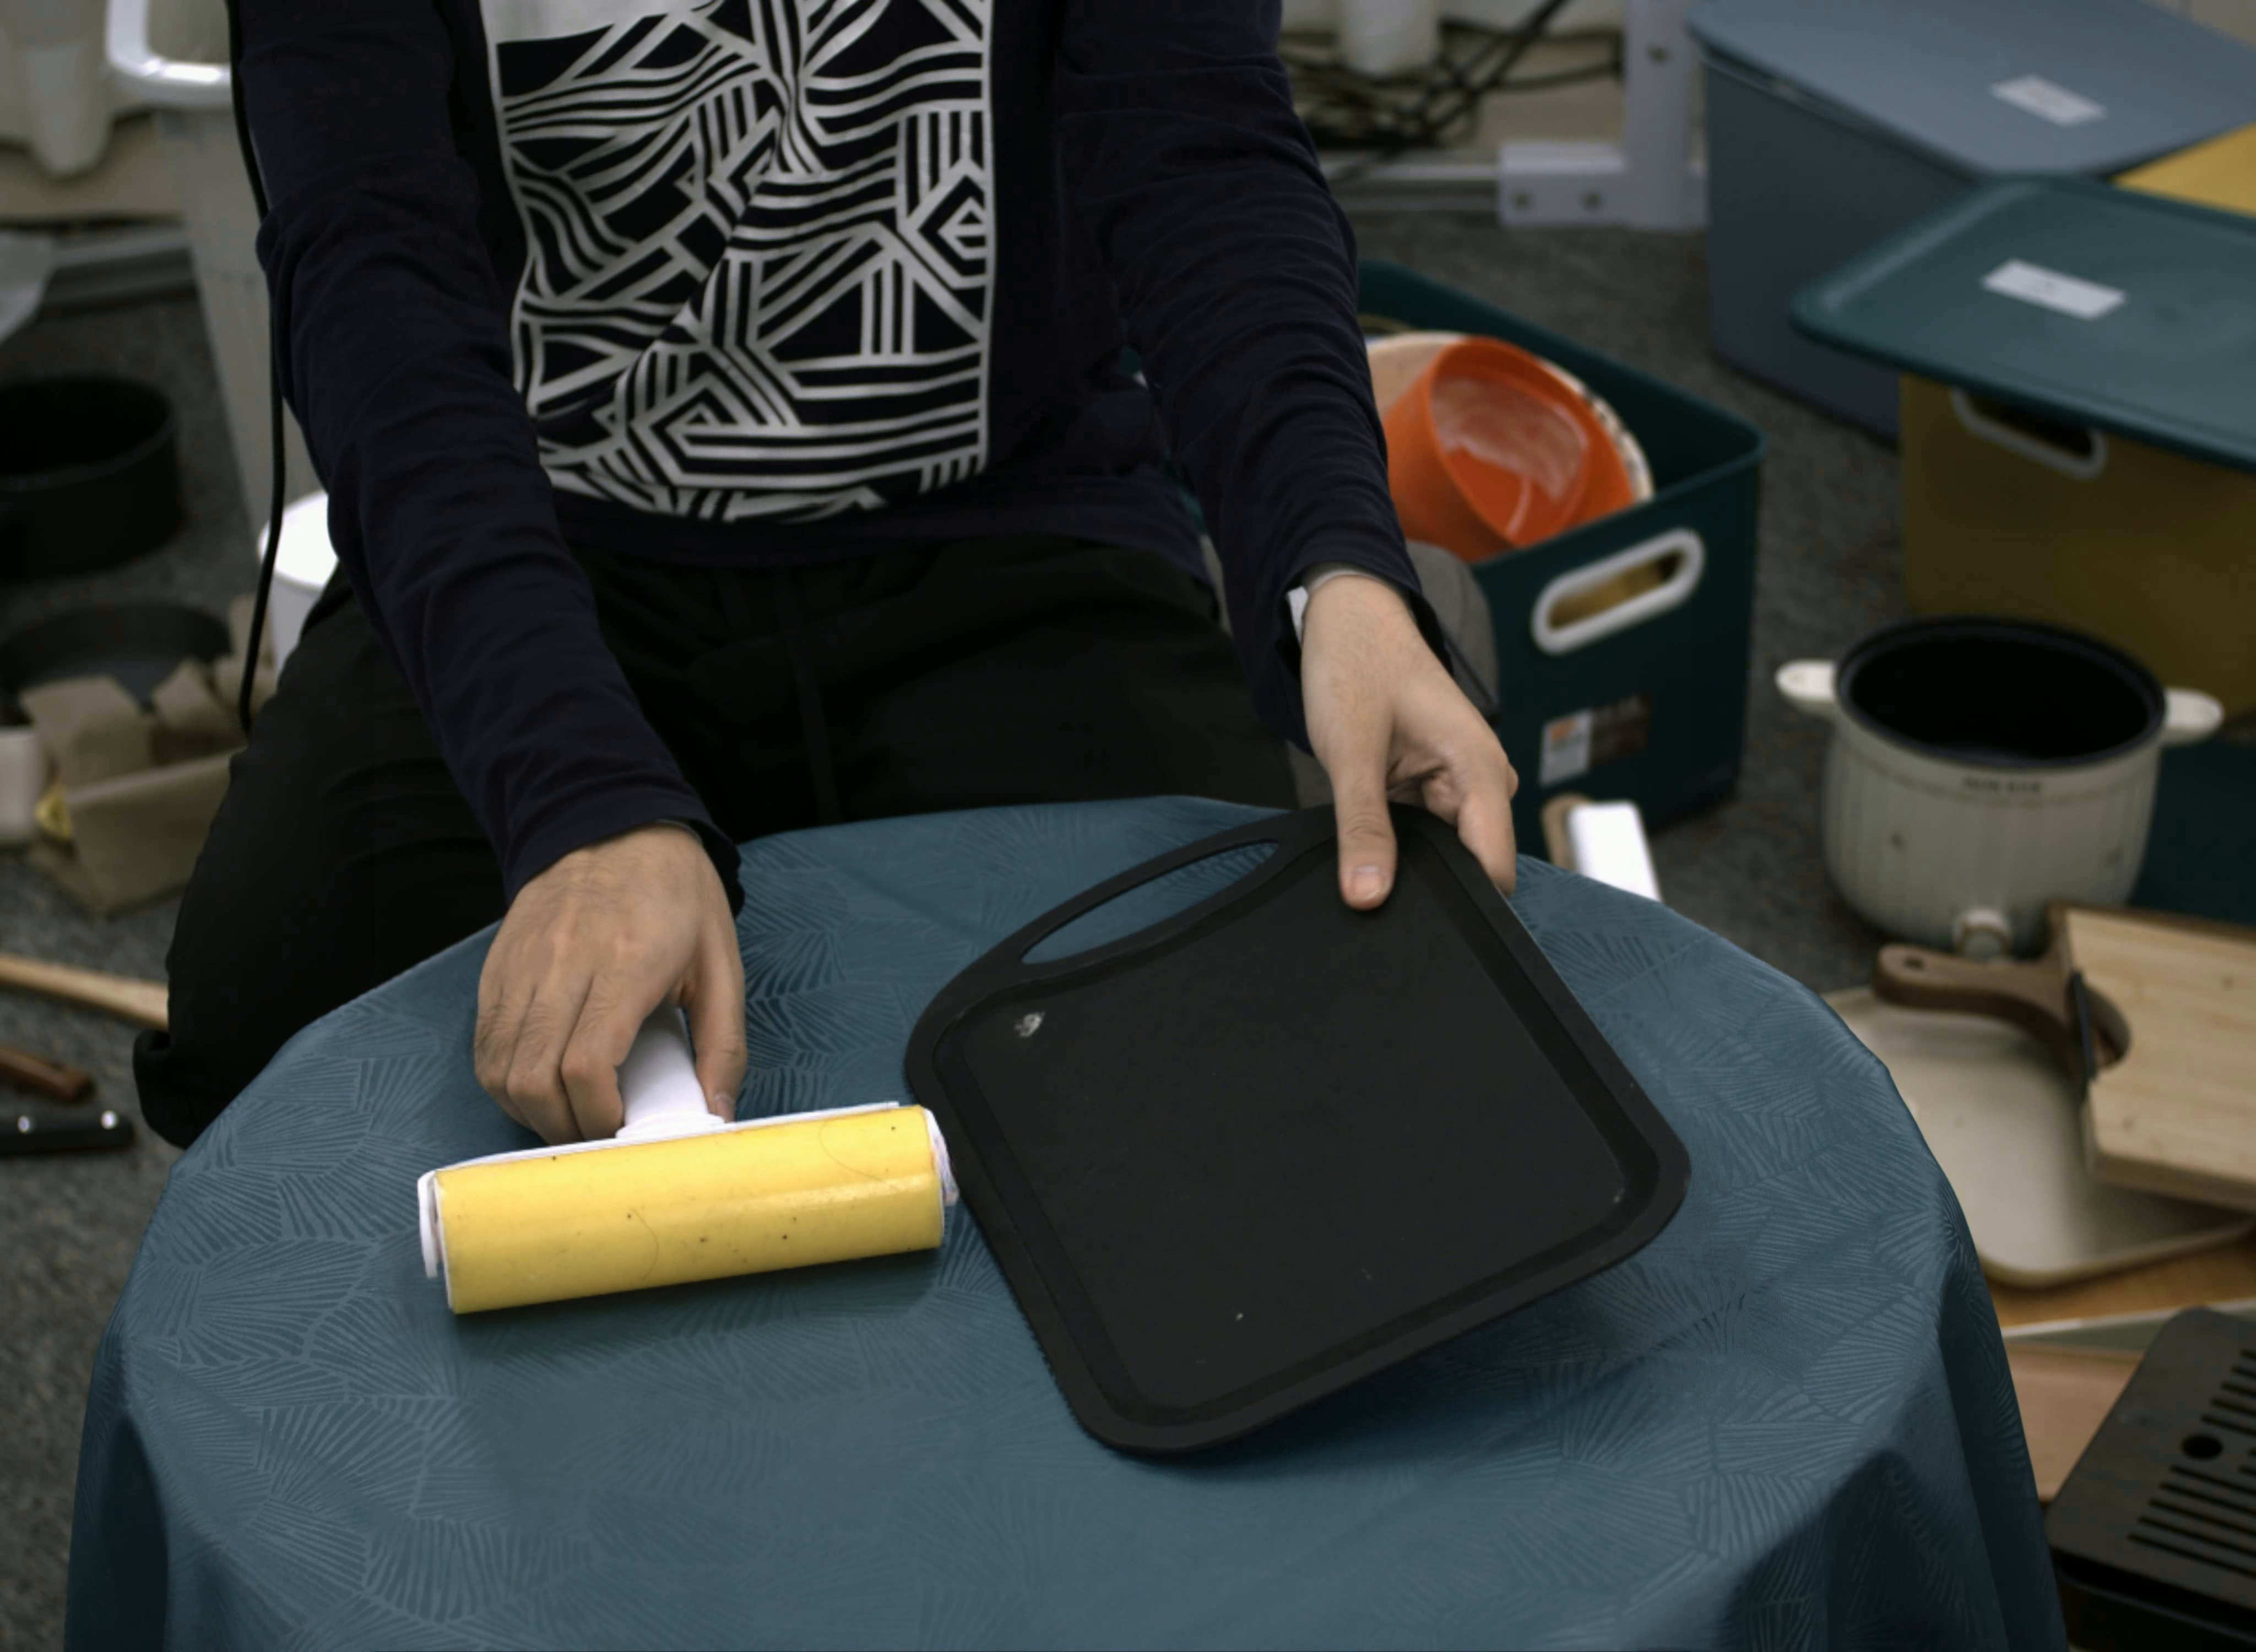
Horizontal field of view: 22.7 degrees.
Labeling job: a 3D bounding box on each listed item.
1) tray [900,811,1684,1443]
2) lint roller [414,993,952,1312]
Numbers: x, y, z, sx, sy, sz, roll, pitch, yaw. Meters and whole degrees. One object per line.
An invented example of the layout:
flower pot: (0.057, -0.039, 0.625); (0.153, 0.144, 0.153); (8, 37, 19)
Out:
tray: (0.043, 0.088, 1.856); (0.211, 0.009, 0.329); (-23, 30, -6)
lint roller: (-0.158, 0.092, 1.881); (0.174, 0.051, 0.194); (-7, 30, -10)
